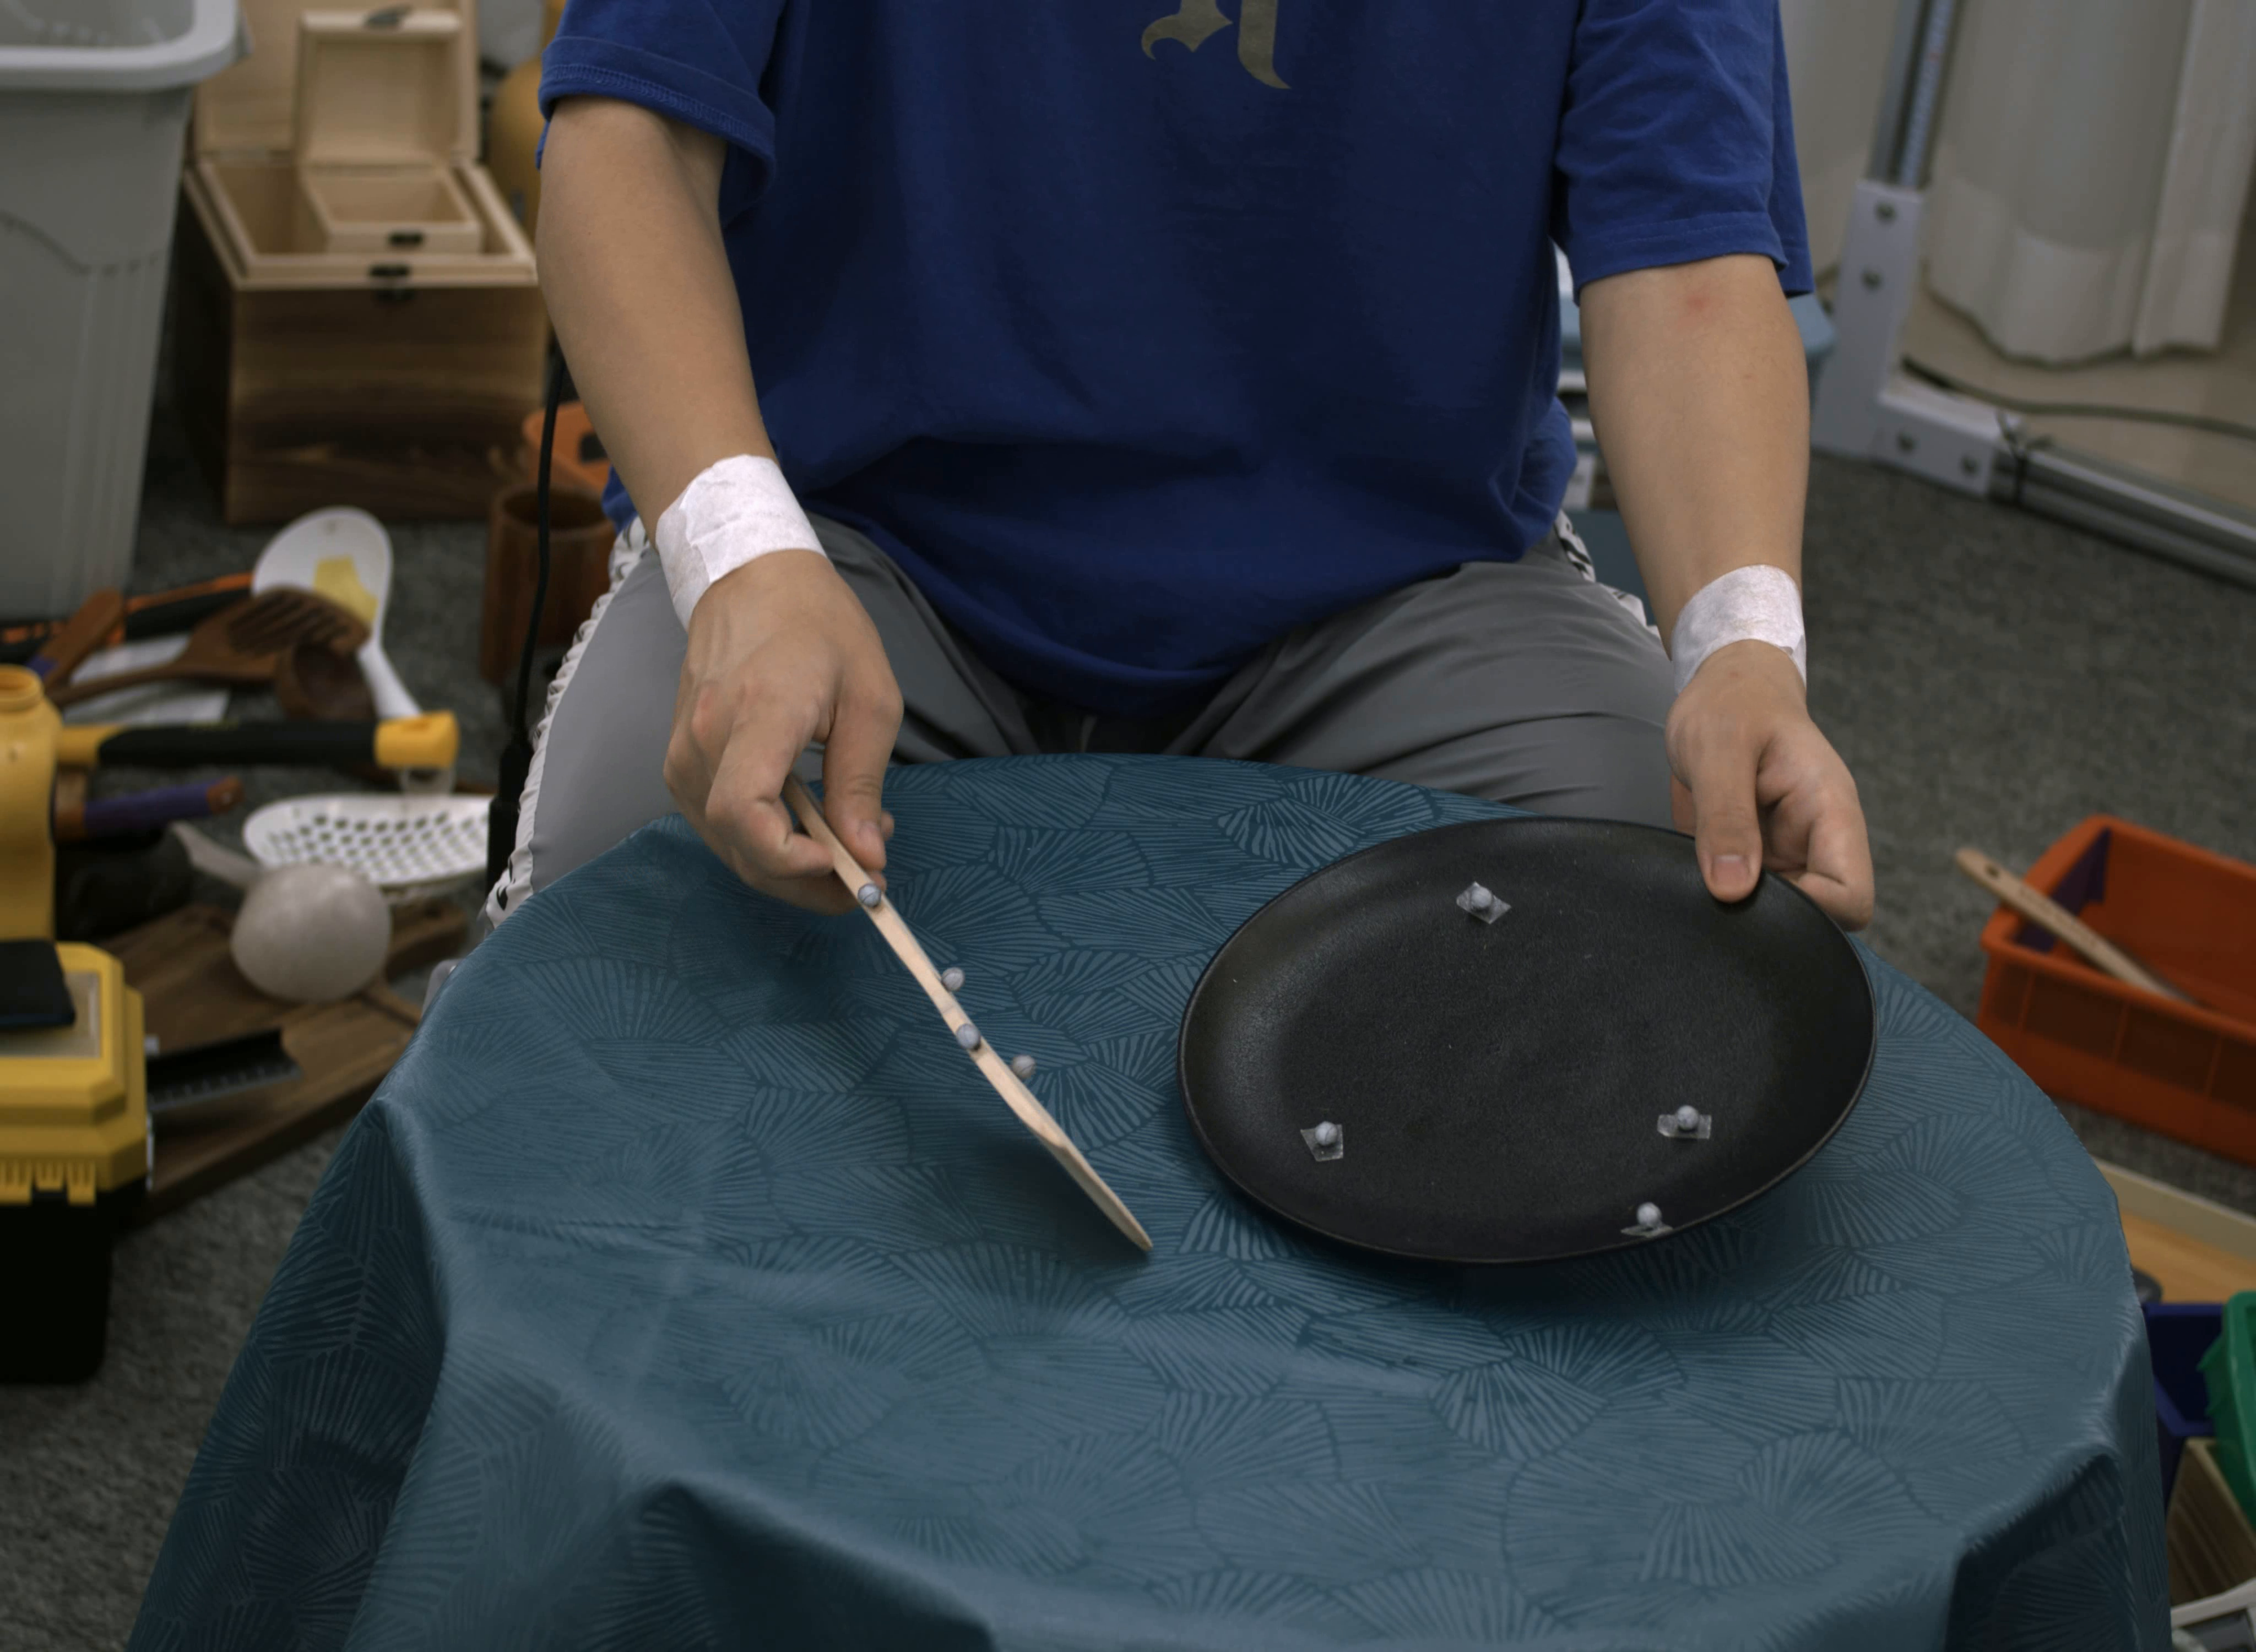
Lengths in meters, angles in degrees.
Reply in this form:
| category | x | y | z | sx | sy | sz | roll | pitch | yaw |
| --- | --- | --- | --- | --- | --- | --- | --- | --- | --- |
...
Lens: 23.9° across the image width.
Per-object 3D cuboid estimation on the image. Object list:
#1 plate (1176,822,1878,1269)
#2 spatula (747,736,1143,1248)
| category | x | y | z | sx | sy | sz | roll | pitch | yaw |
| --- | --- | --- | --- | --- | --- | --- | --- | --- | --- |
| plate | 0.138 | 0.078 | 1.847 | 0.244 | 0.023 | 0.246 | -6 | 36 | 4 |
| spatula | -0.074 | 0.047 | 1.853 | 0.010 | 0.071 | 0.296 | -38 | 41 | -1 |
